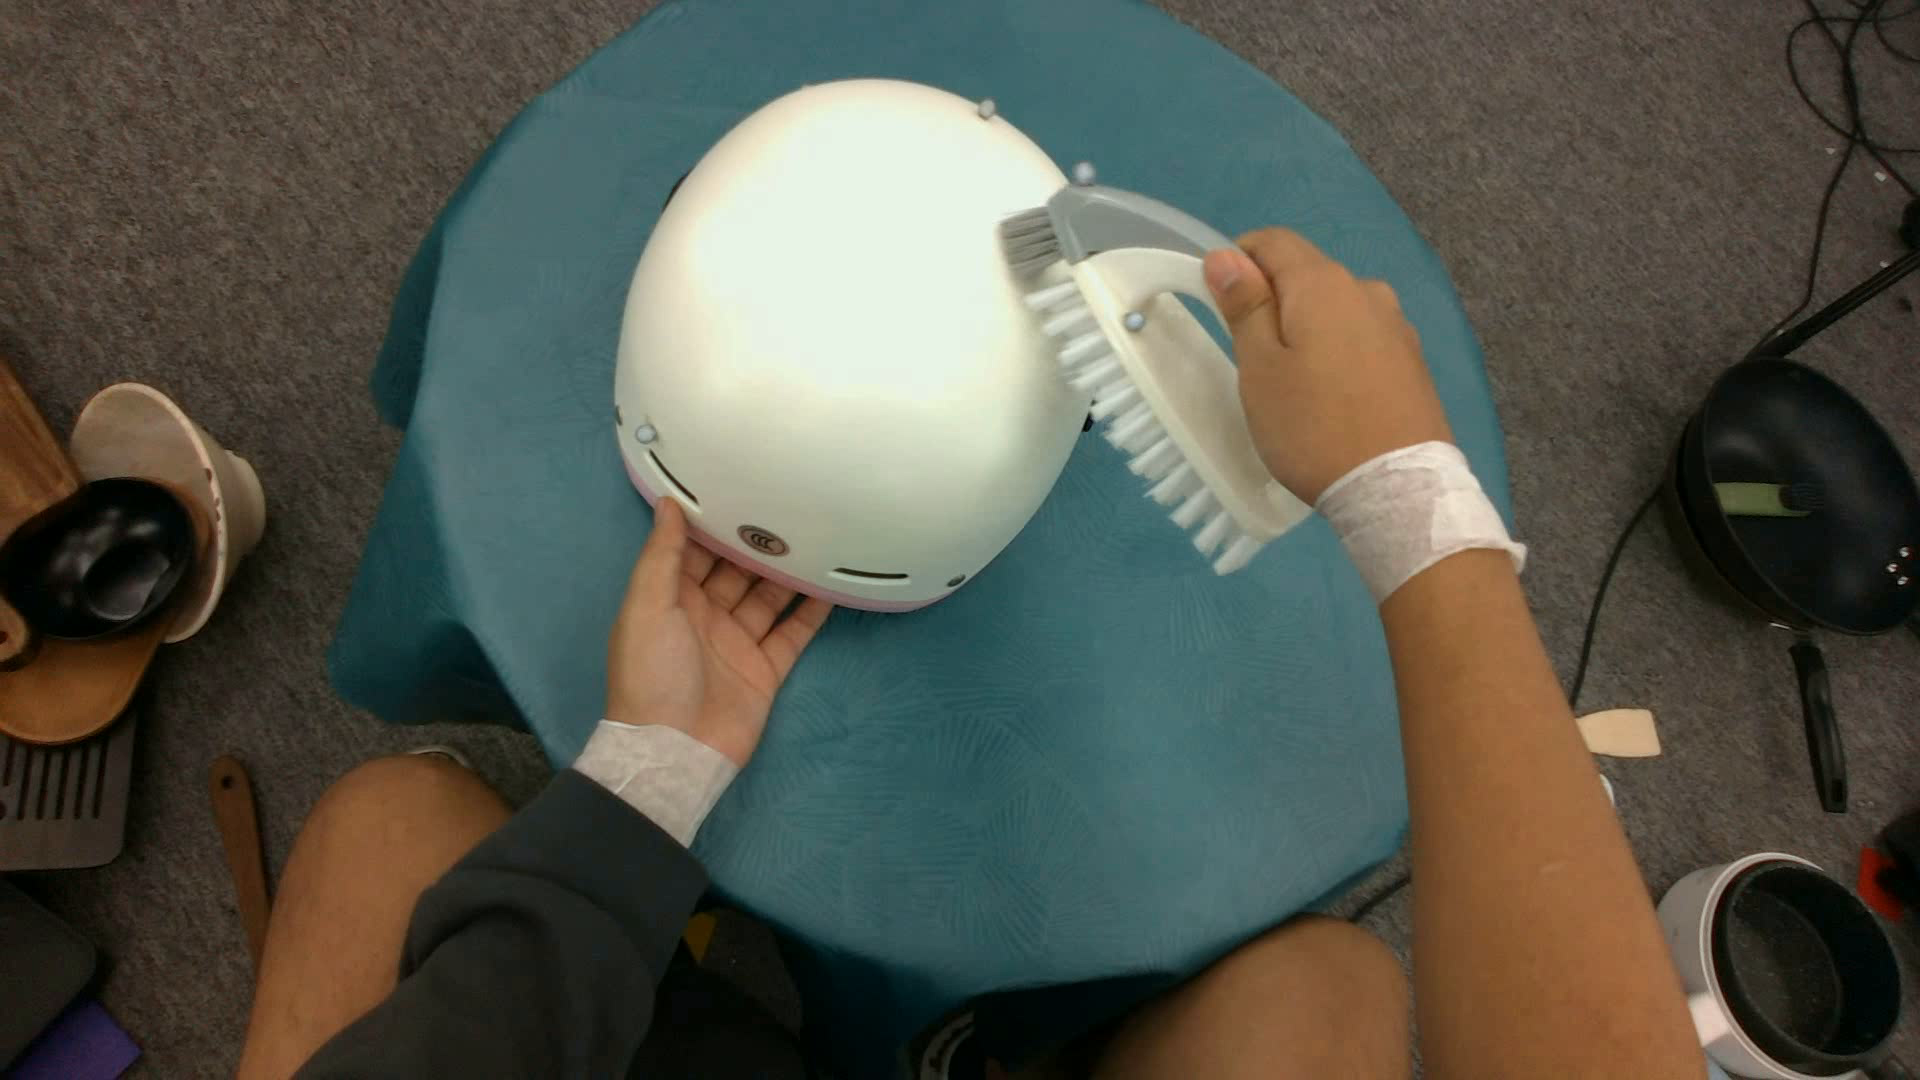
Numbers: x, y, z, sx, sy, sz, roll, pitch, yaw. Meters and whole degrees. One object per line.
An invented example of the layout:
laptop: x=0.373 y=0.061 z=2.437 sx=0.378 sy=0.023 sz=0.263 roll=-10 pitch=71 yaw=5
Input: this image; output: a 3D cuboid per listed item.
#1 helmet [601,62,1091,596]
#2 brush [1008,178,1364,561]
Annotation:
helmet: x=-0.044 y=-0.121 z=0.649 sx=0.237 sy=0.166 sz=0.270 roll=27 pitch=65 yaw=-4
brush: x=0.096 y=-0.085 z=0.566 sx=0.175 sy=0.094 sz=0.062 roll=54 pitch=41 yaw=4
